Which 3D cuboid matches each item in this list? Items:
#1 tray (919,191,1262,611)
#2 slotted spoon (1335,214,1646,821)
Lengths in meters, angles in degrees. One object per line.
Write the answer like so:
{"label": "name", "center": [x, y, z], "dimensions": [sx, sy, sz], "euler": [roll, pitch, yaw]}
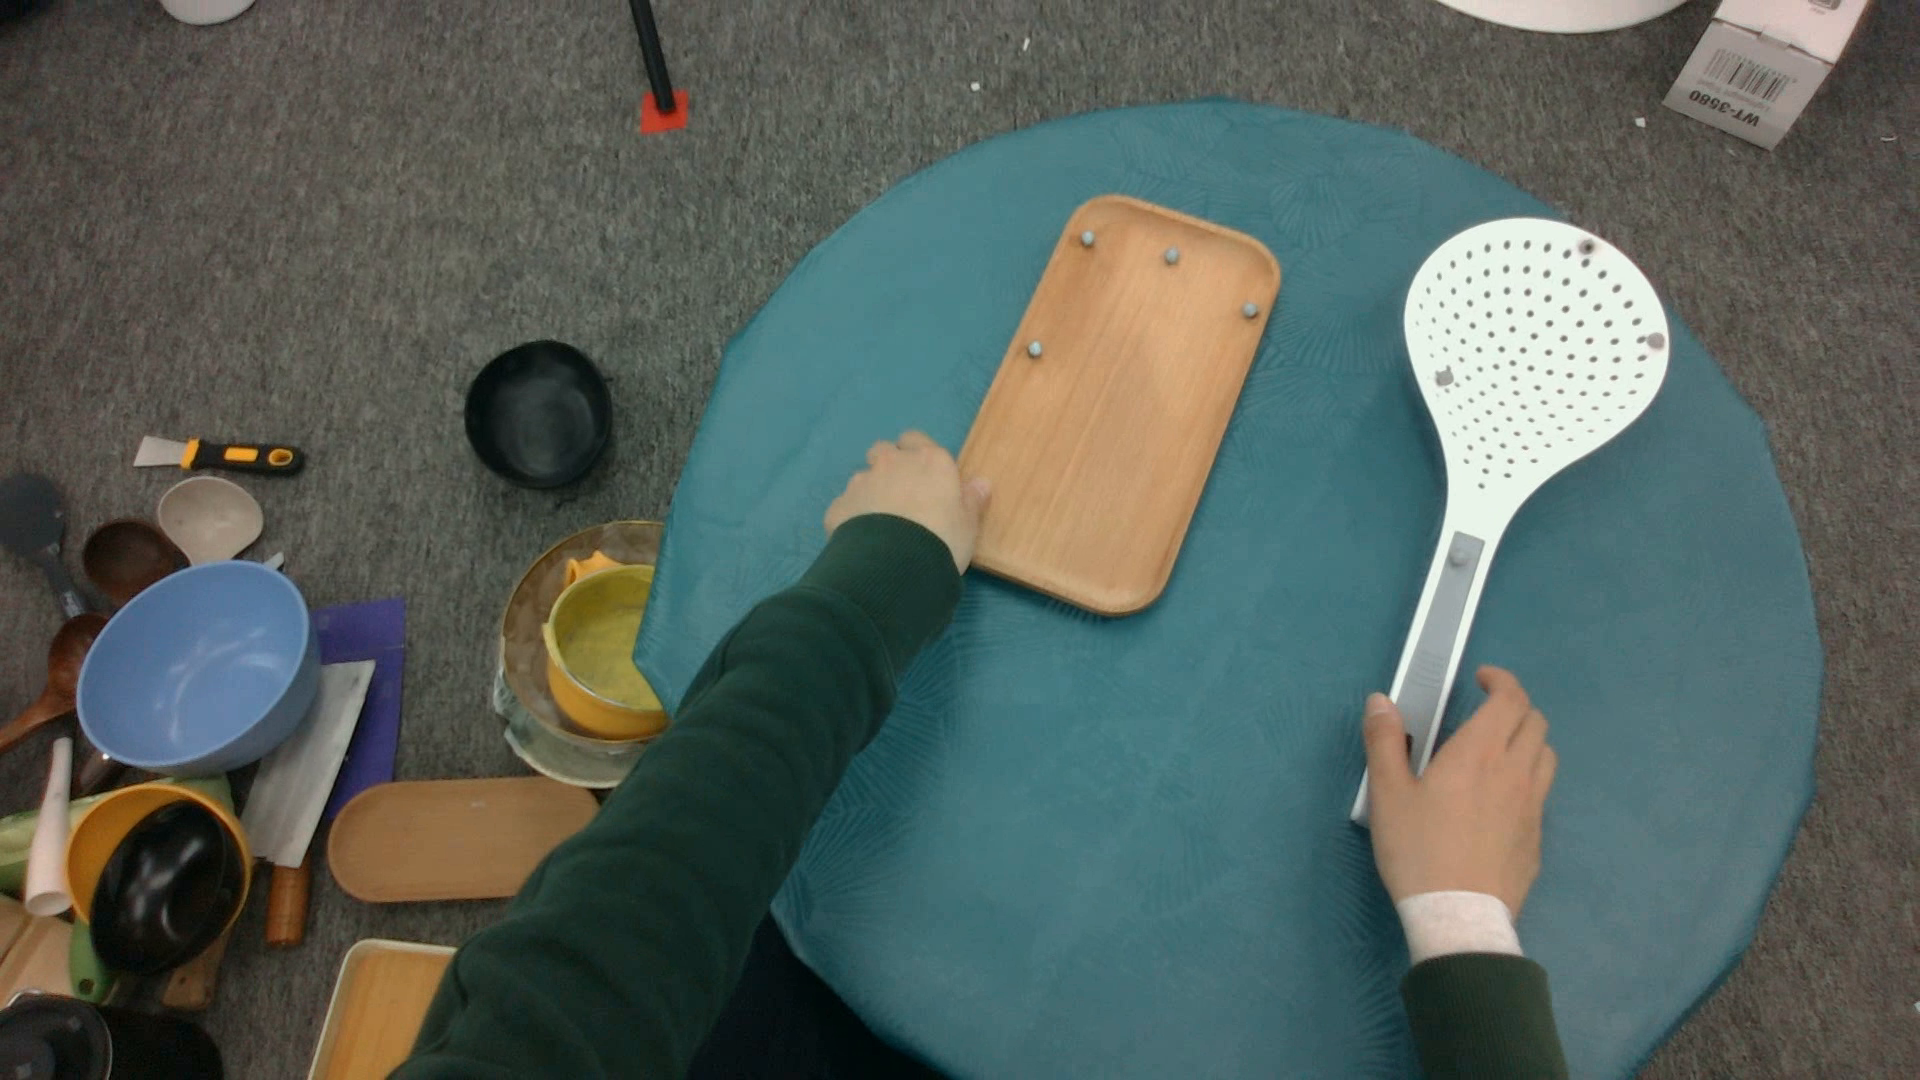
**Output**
{"label": "tray", "center": [0.076, -0.083, 0.755], "dimensions": [0.130, 0.023, 0.251], "euler": [20, 67, 10]}
{"label": "slotted spoon", "center": [0.259, -0.021, 0.713], "dimensions": [0.136, 0.045, 0.351], "euler": [20, 67, 11]}
